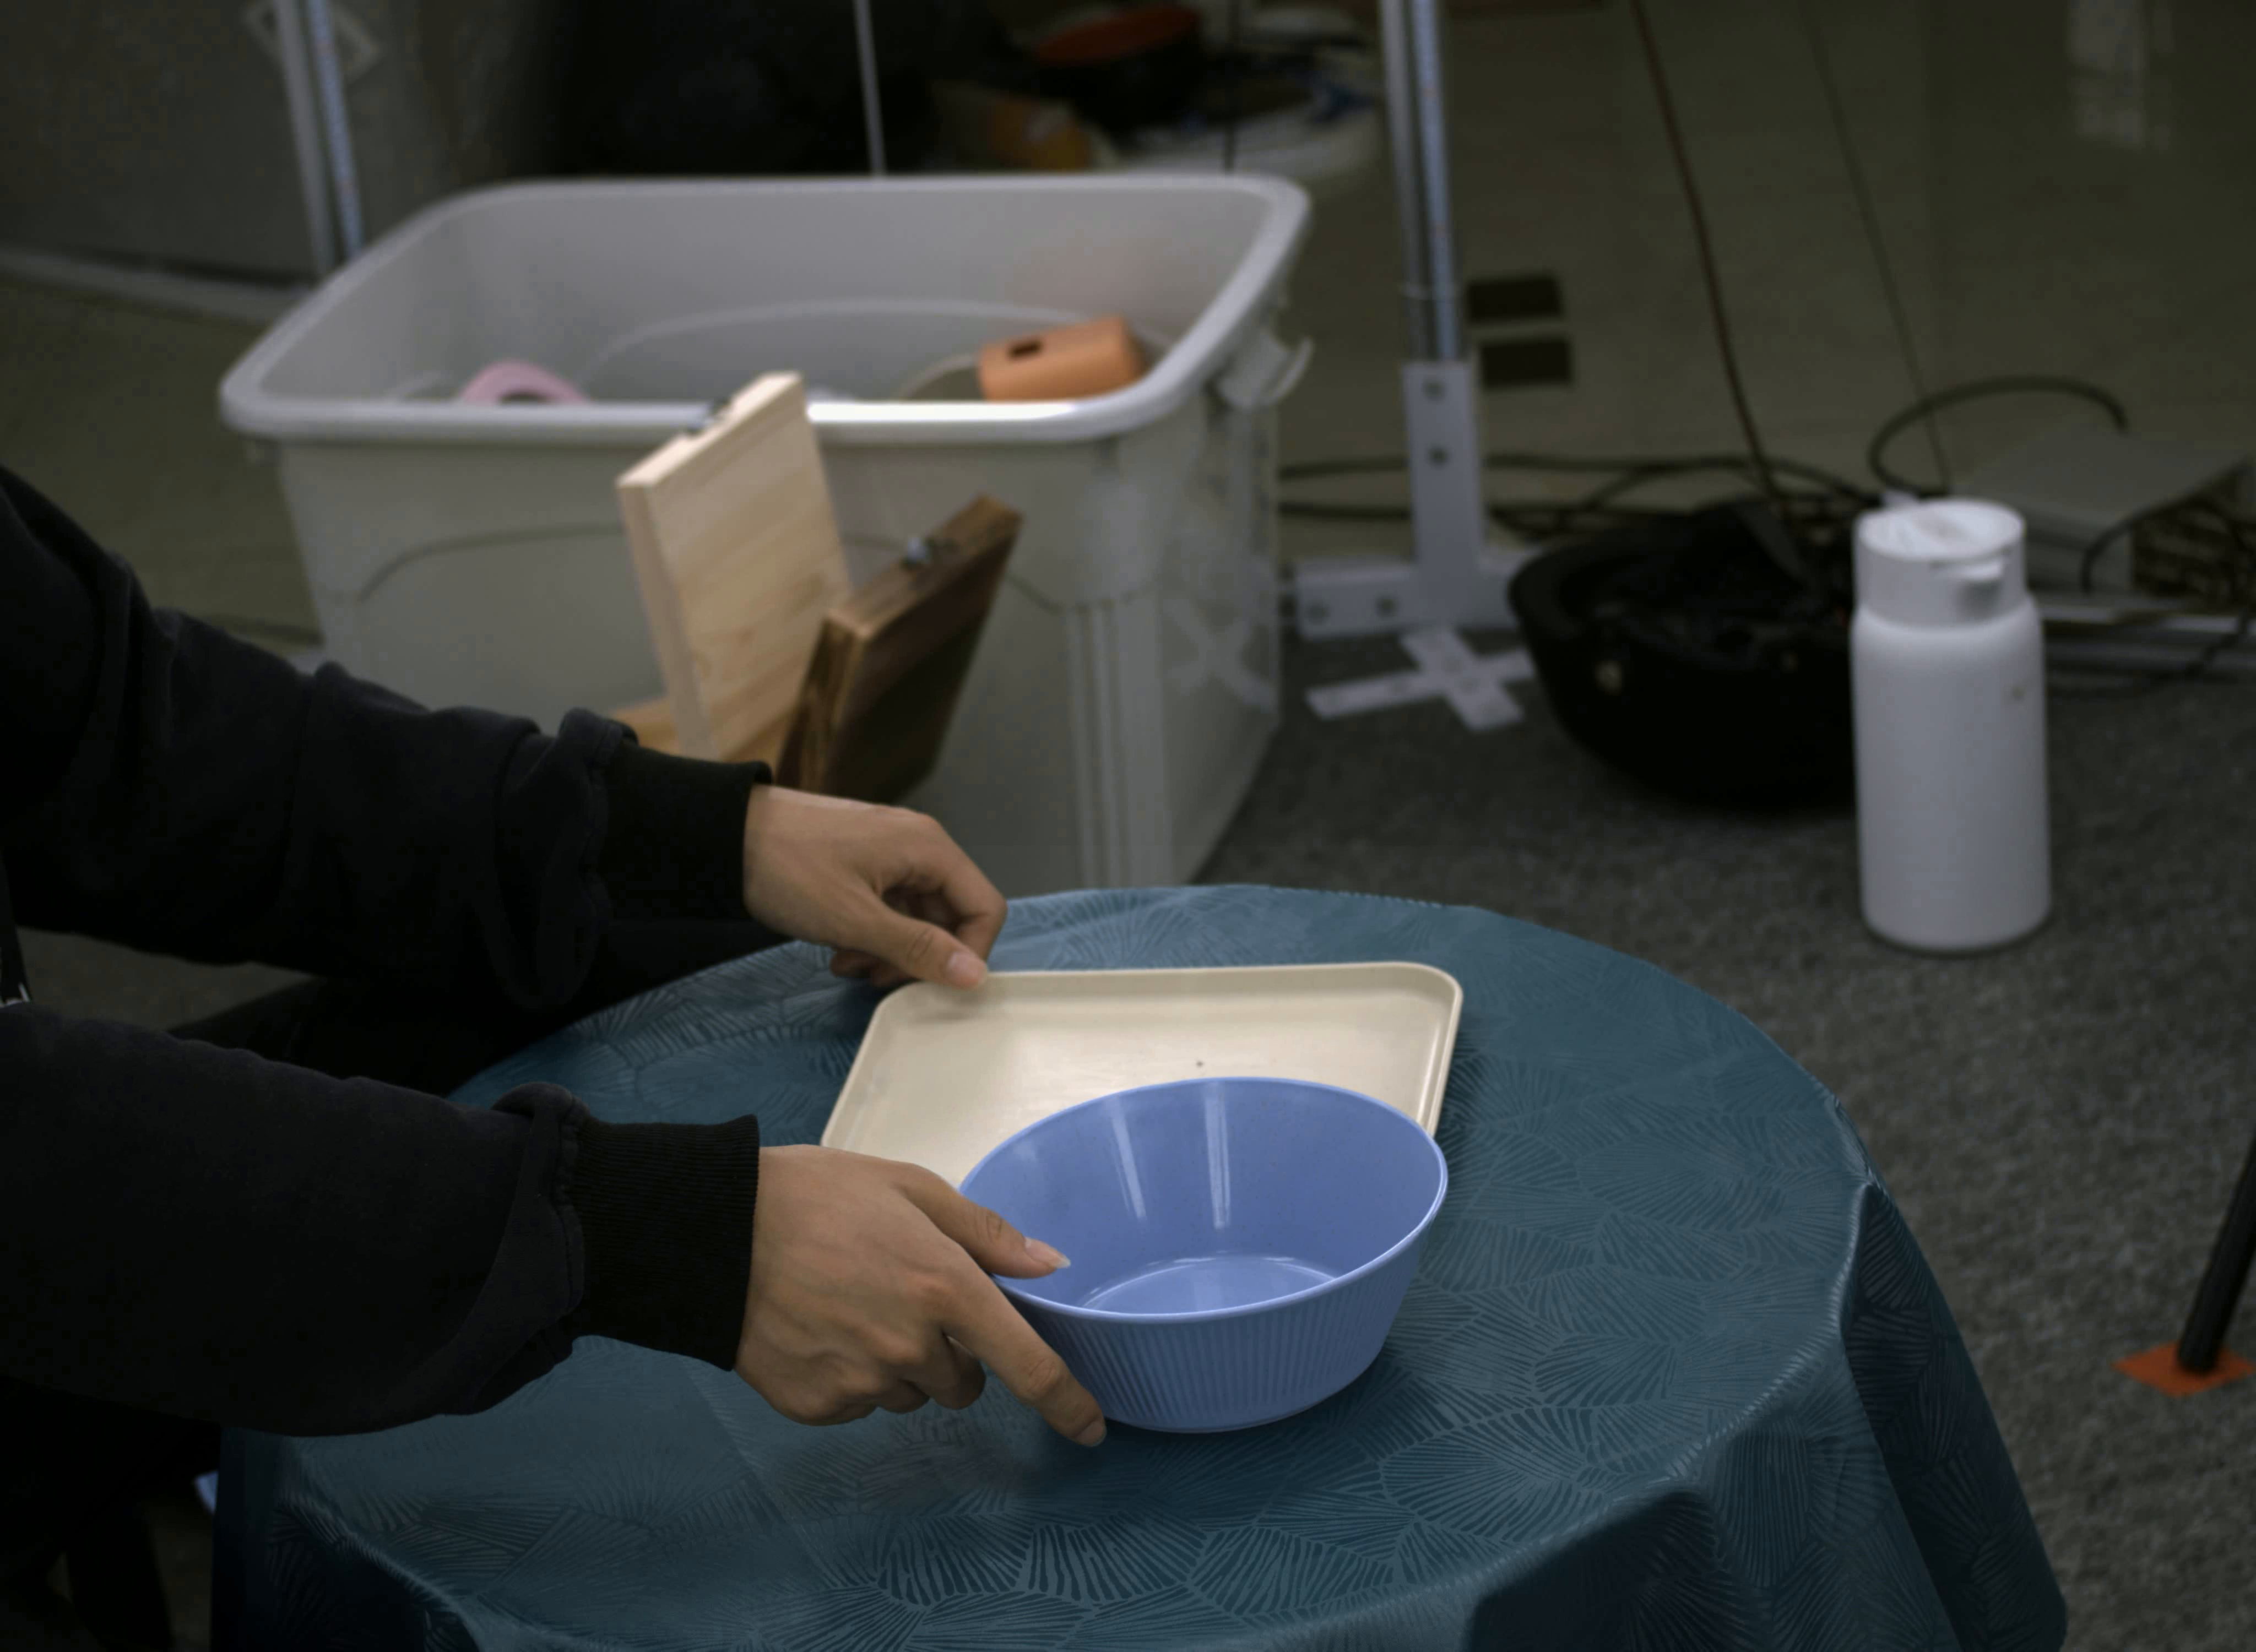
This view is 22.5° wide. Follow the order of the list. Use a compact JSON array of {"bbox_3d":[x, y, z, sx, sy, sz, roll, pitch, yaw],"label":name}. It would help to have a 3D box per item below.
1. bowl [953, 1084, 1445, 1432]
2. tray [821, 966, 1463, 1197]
[{"bbox_3d":[0.028,0.159,2.017,0.176,0.071,0.173,-5,24,3],"label":"bowl"},{"bbox_3d":[0.008,0.101,2.212,0.239,0.018,0.169,-2,25,11],"label":"tray"}]
